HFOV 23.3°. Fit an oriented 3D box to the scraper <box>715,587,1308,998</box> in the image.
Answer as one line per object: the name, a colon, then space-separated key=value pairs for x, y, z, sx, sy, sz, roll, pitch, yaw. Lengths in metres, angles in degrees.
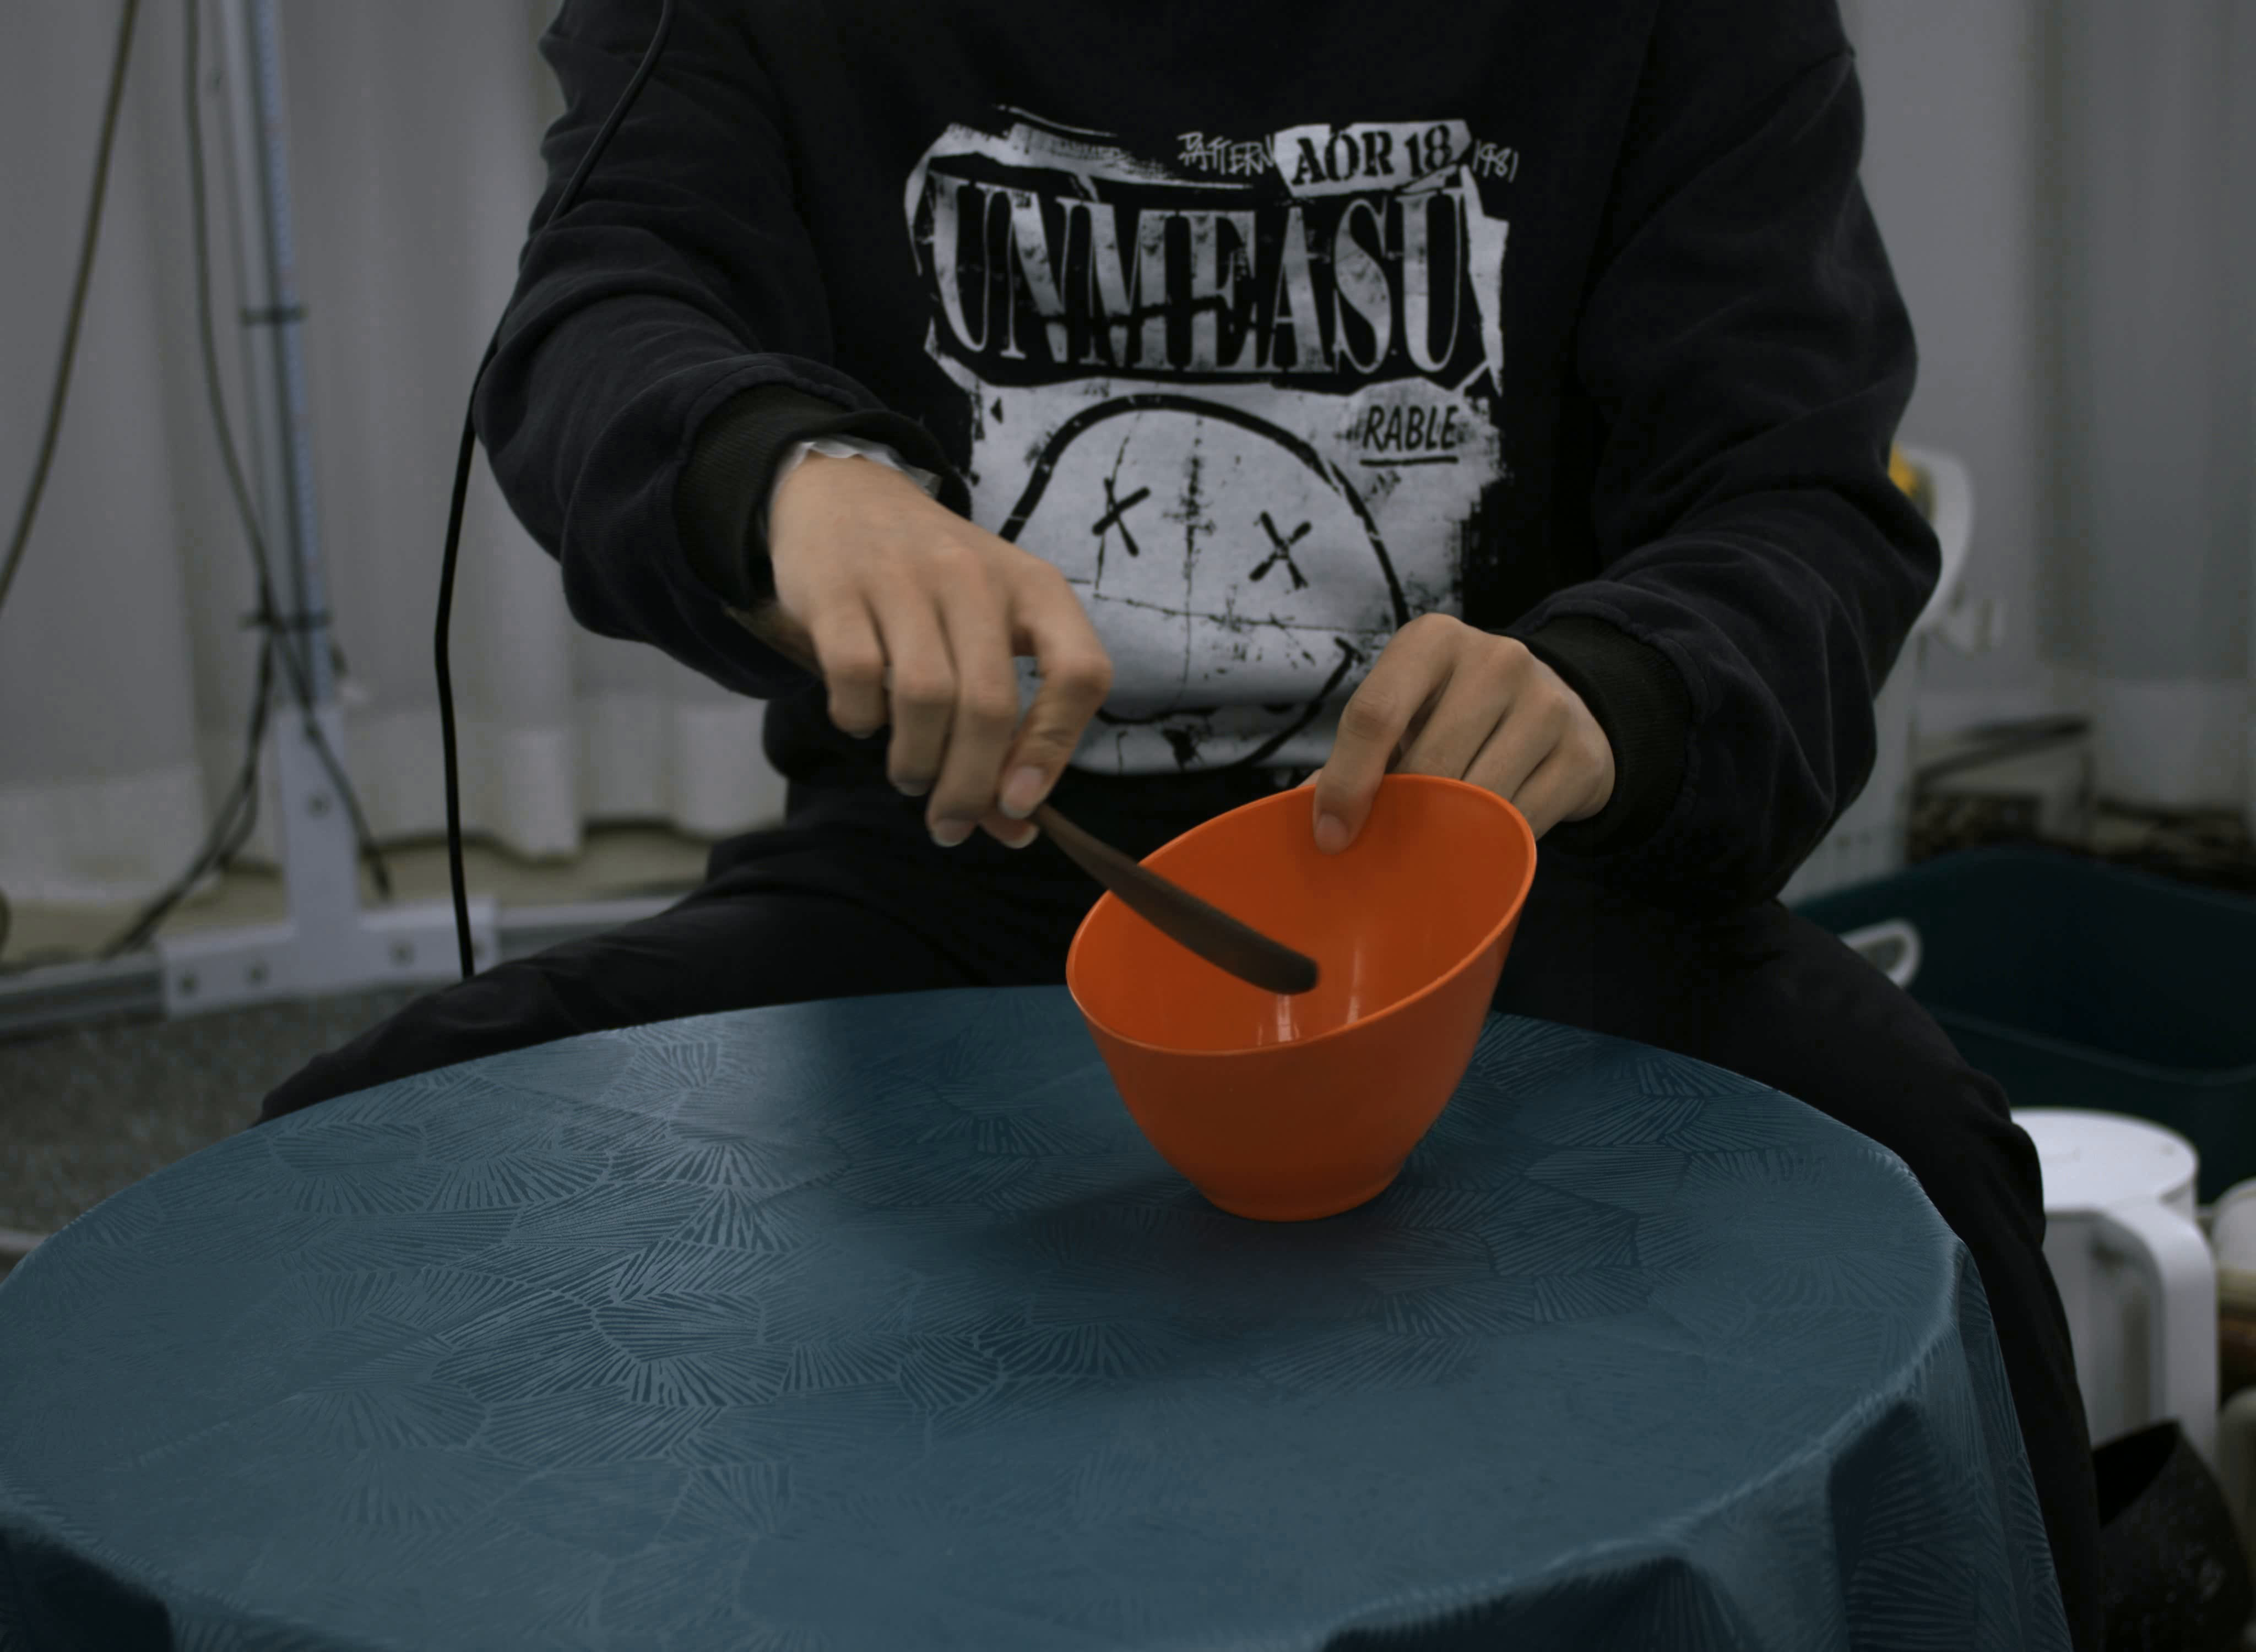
scraper: x=-0.036 y=-0.009 z=1.617 sx=0.211 sy=0.011 sz=0.075 roll=35 pitch=-9 yaw=6

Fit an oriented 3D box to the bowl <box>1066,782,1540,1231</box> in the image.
bowl: x=0.057 y=0.063 z=1.680 sx=0.147 sy=0.103 sz=0.150 roll=-6 pitch=29 yaw=3
